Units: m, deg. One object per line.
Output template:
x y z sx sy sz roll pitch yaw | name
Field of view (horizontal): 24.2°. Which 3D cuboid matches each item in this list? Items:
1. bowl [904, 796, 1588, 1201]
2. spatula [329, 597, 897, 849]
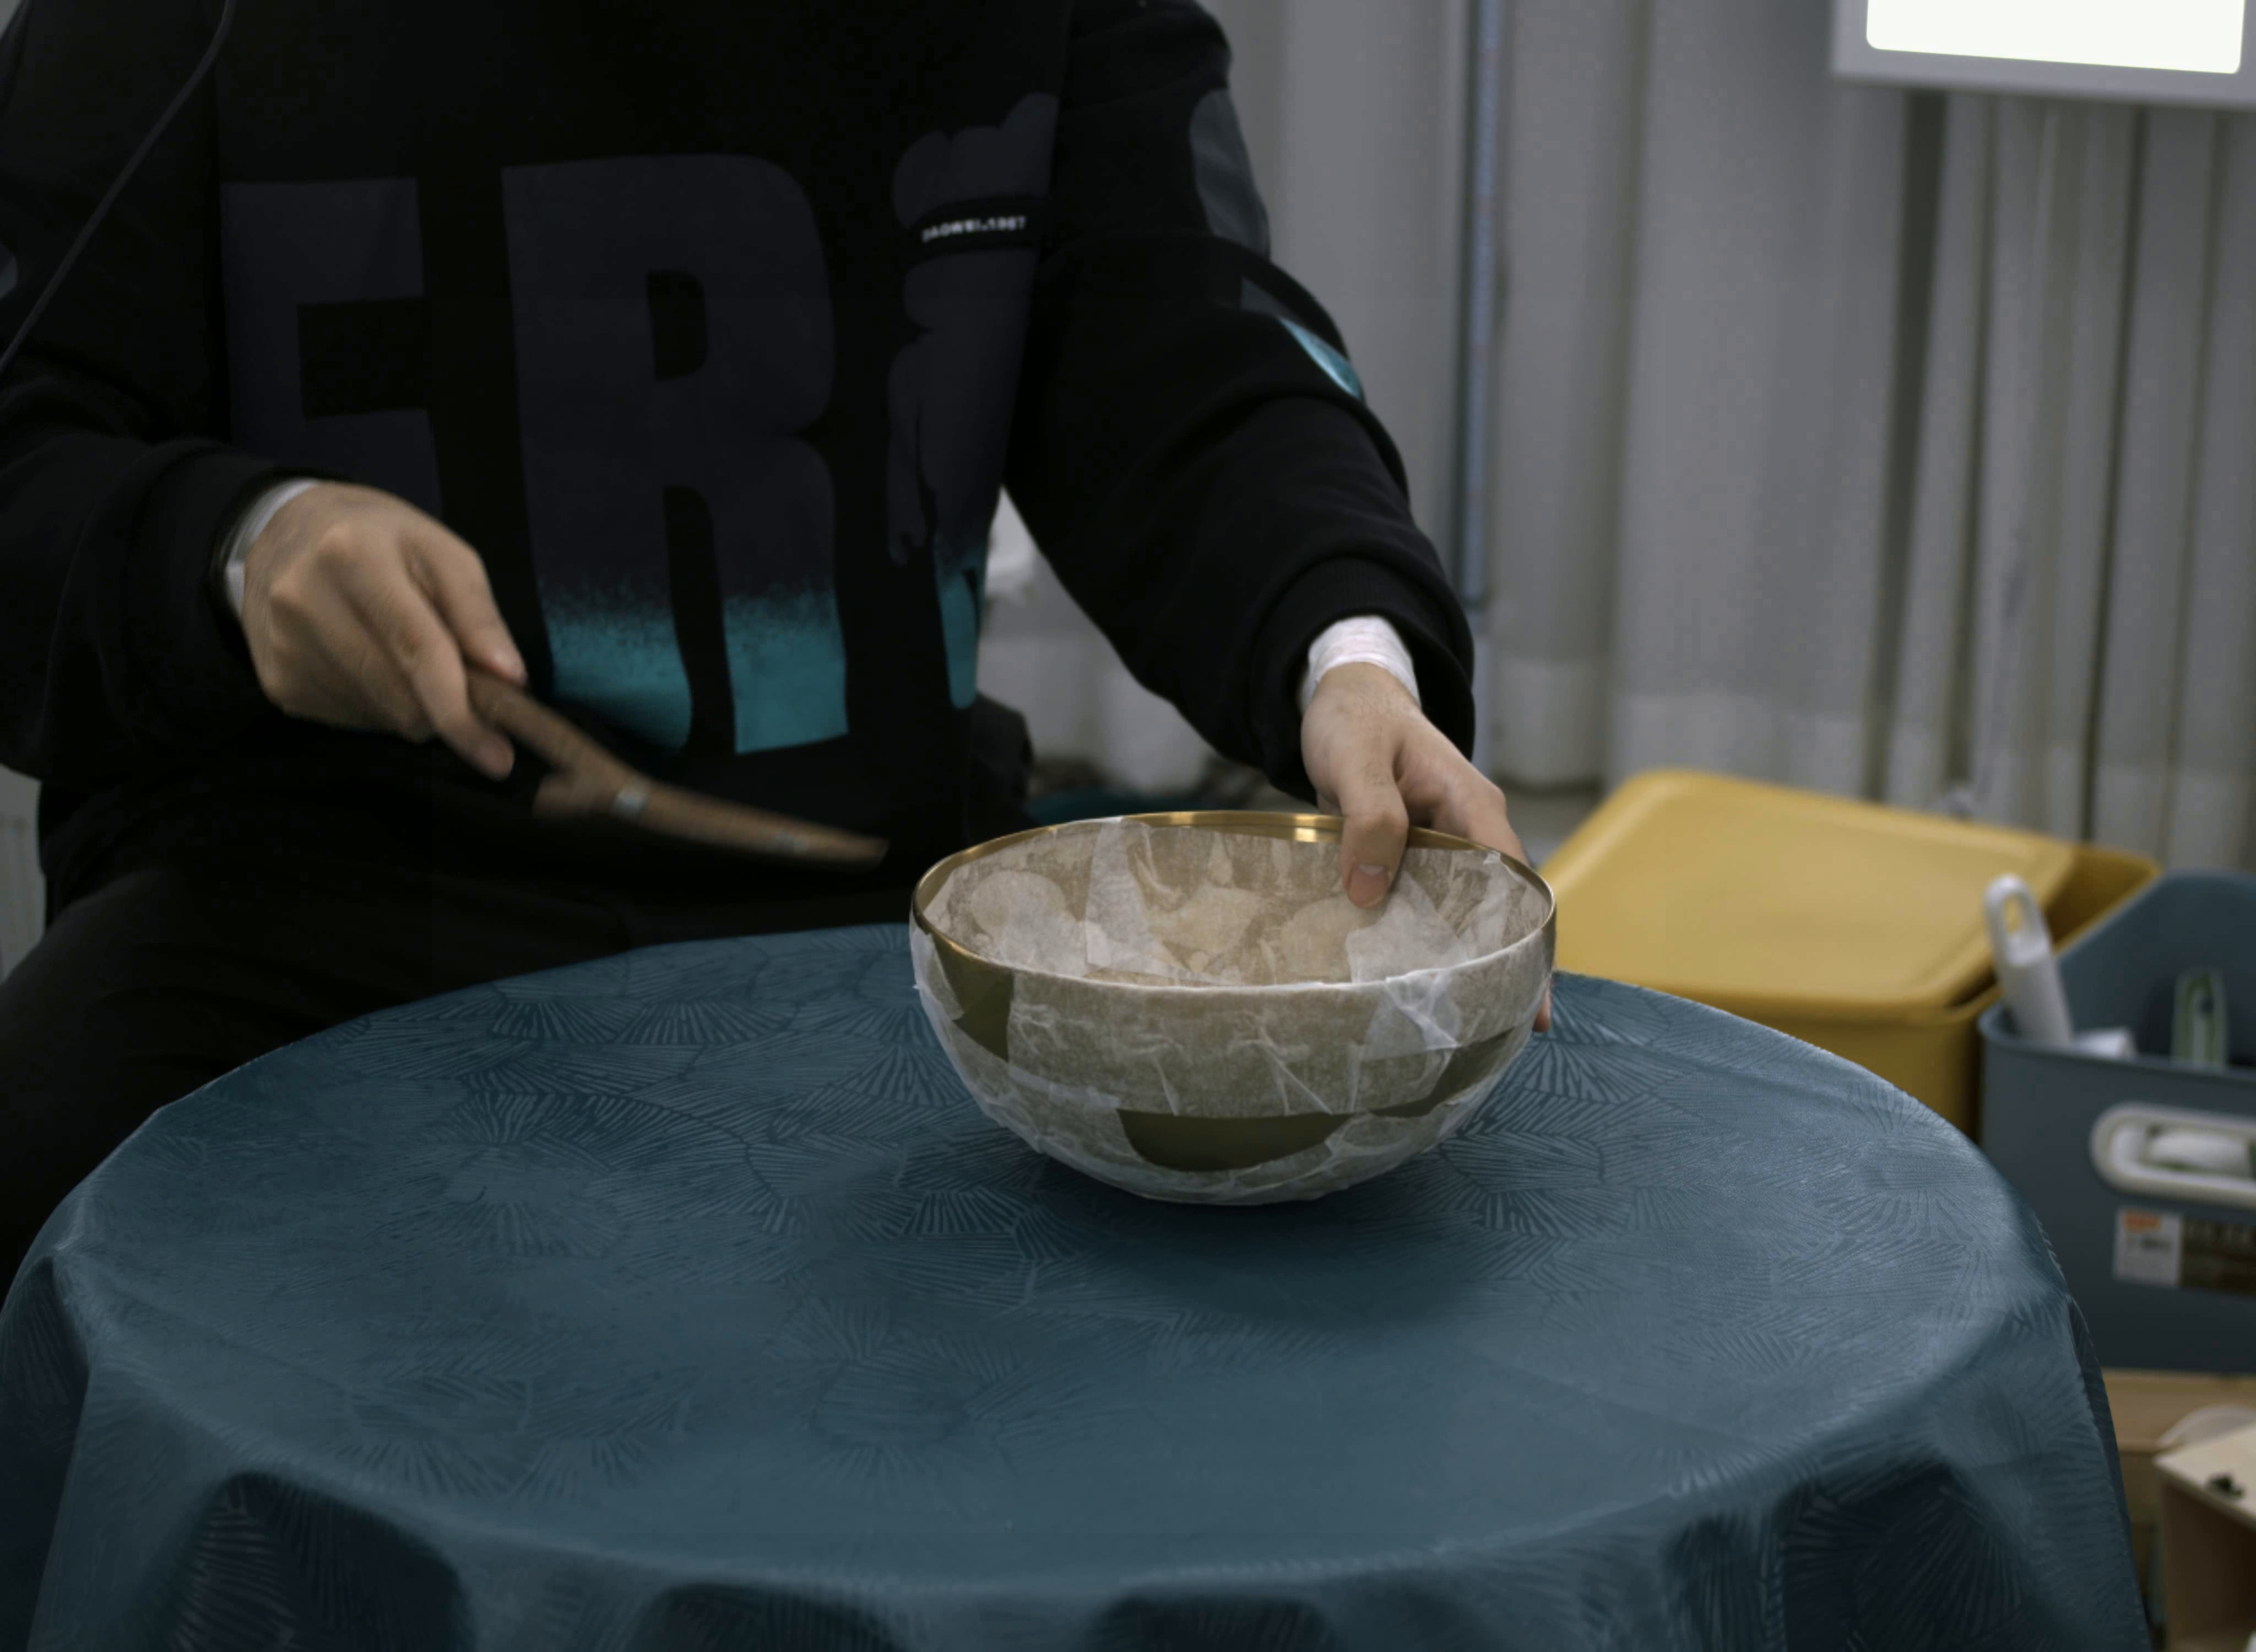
0.035 0.061 1.632 0.214 0.095 0.213 0 15 1 | bowl
-0.181 -0.037 1.621 0.097 0.016 0.381 12 6 -28 | spatula
